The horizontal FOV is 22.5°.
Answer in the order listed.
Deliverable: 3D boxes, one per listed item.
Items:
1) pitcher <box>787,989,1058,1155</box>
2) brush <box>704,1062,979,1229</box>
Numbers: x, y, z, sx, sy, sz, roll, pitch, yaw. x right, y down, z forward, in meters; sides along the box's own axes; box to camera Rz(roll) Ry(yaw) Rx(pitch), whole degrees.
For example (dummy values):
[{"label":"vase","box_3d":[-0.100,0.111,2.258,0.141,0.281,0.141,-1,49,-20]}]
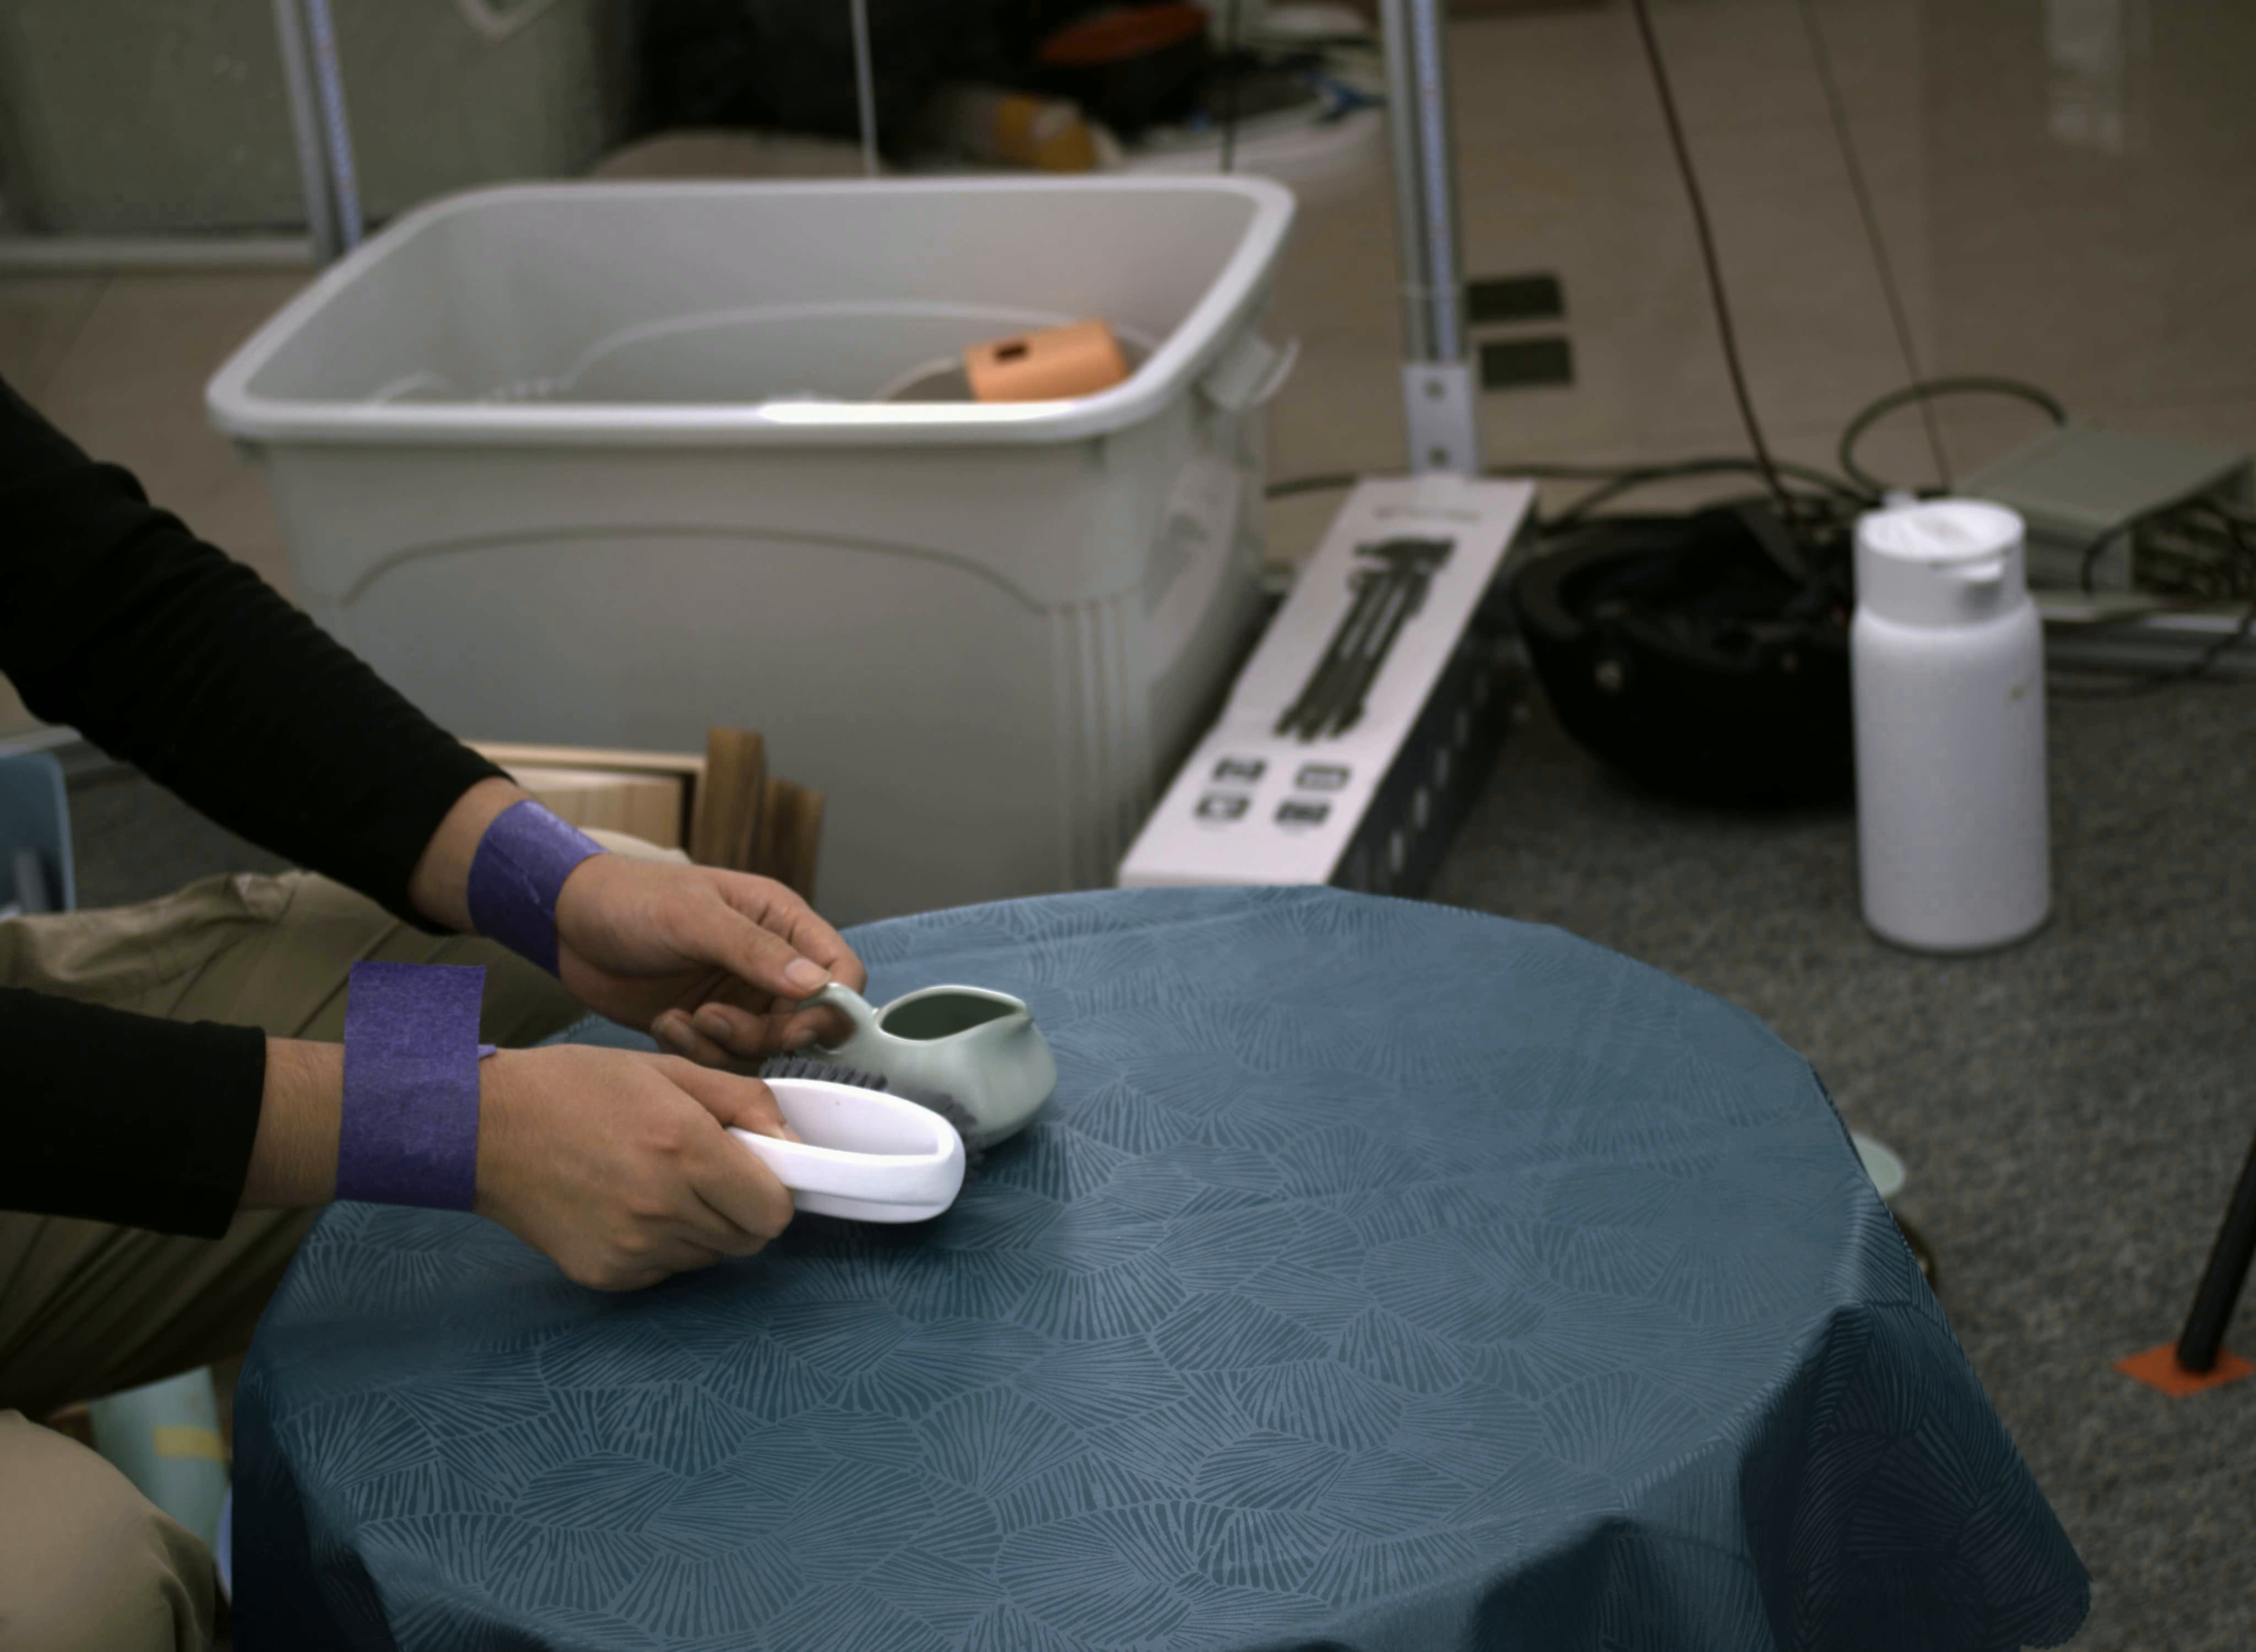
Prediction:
[{"label":"pitcher","box_3d":[-0.081,0.093,2.199,0.108,0.061,0.085,0,25,21]},{"label":"brush","box_3d":[-0.111,0.123,2.115,0.099,0.051,0.072,13,11,10]}]
